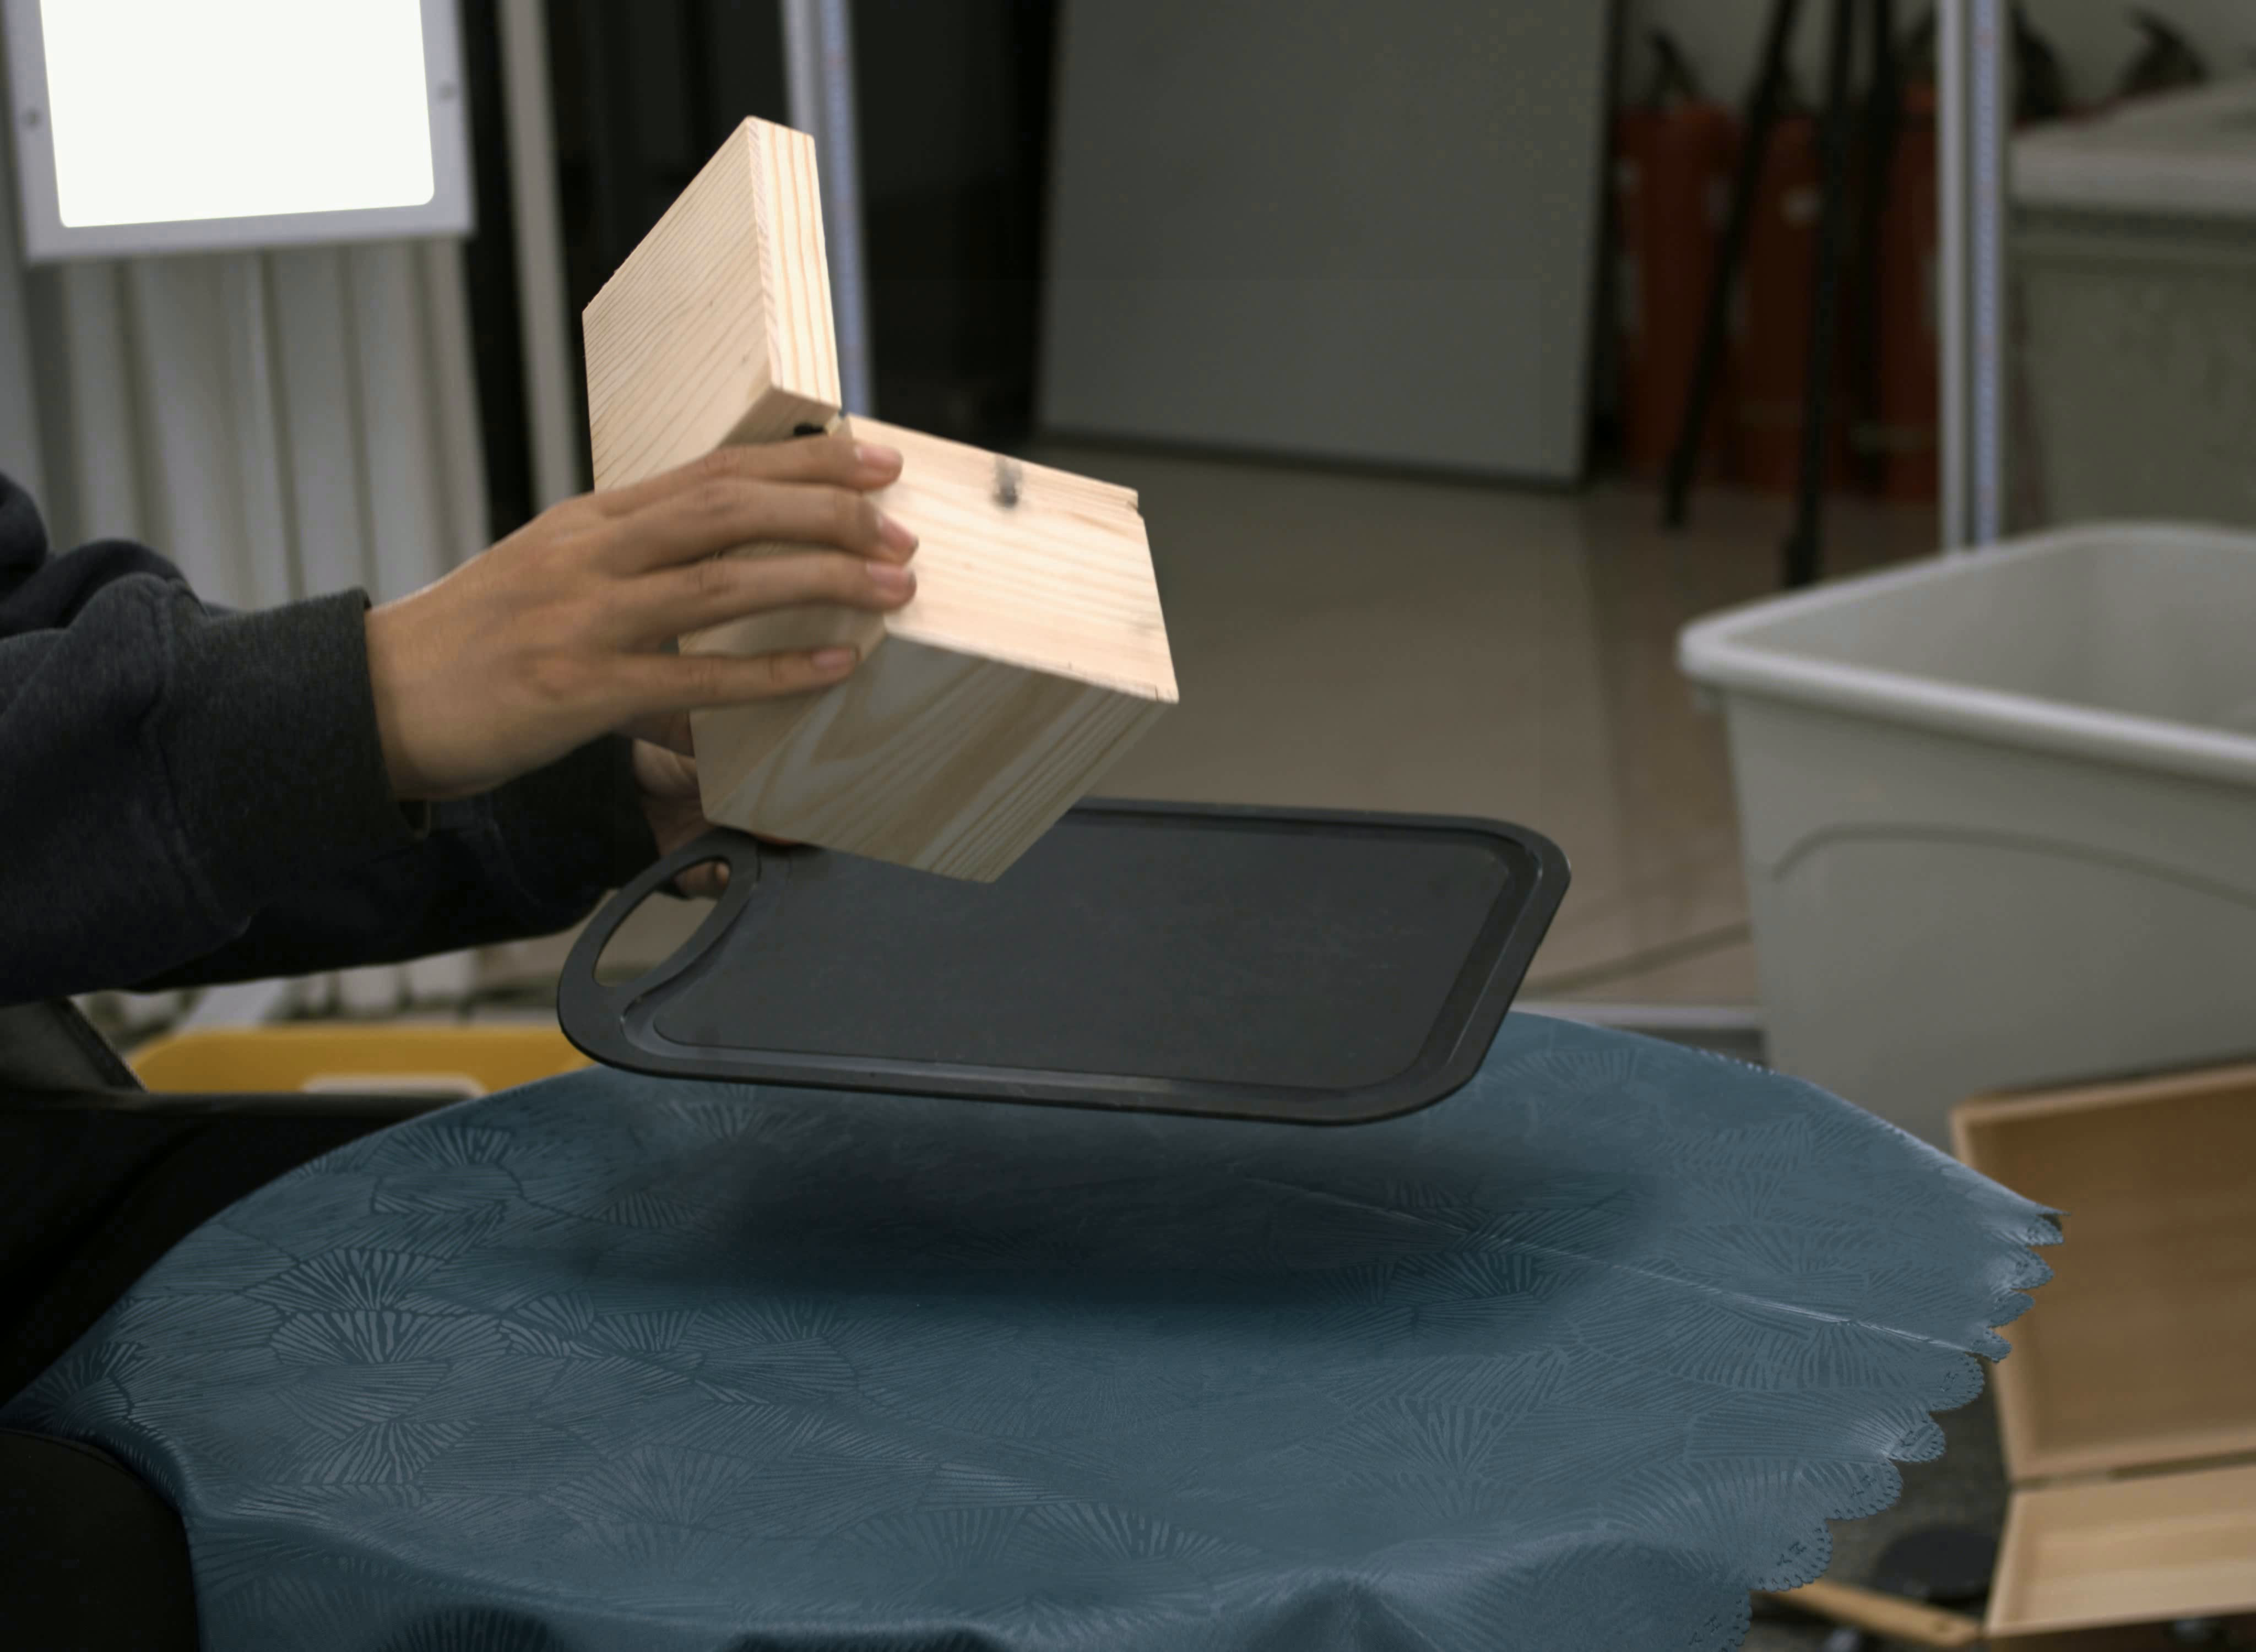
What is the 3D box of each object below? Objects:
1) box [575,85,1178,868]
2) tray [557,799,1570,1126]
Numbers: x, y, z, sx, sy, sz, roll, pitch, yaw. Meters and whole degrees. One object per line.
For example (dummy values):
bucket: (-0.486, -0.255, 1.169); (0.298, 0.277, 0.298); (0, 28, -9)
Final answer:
box: (-0.075, -0.101, 1.572); (0.131, 0.187, 0.103); (11, -37, -33)
tray: (-0.026, 0.038, 1.764); (0.325, 0.010, 0.210); (3, 27, 19)
